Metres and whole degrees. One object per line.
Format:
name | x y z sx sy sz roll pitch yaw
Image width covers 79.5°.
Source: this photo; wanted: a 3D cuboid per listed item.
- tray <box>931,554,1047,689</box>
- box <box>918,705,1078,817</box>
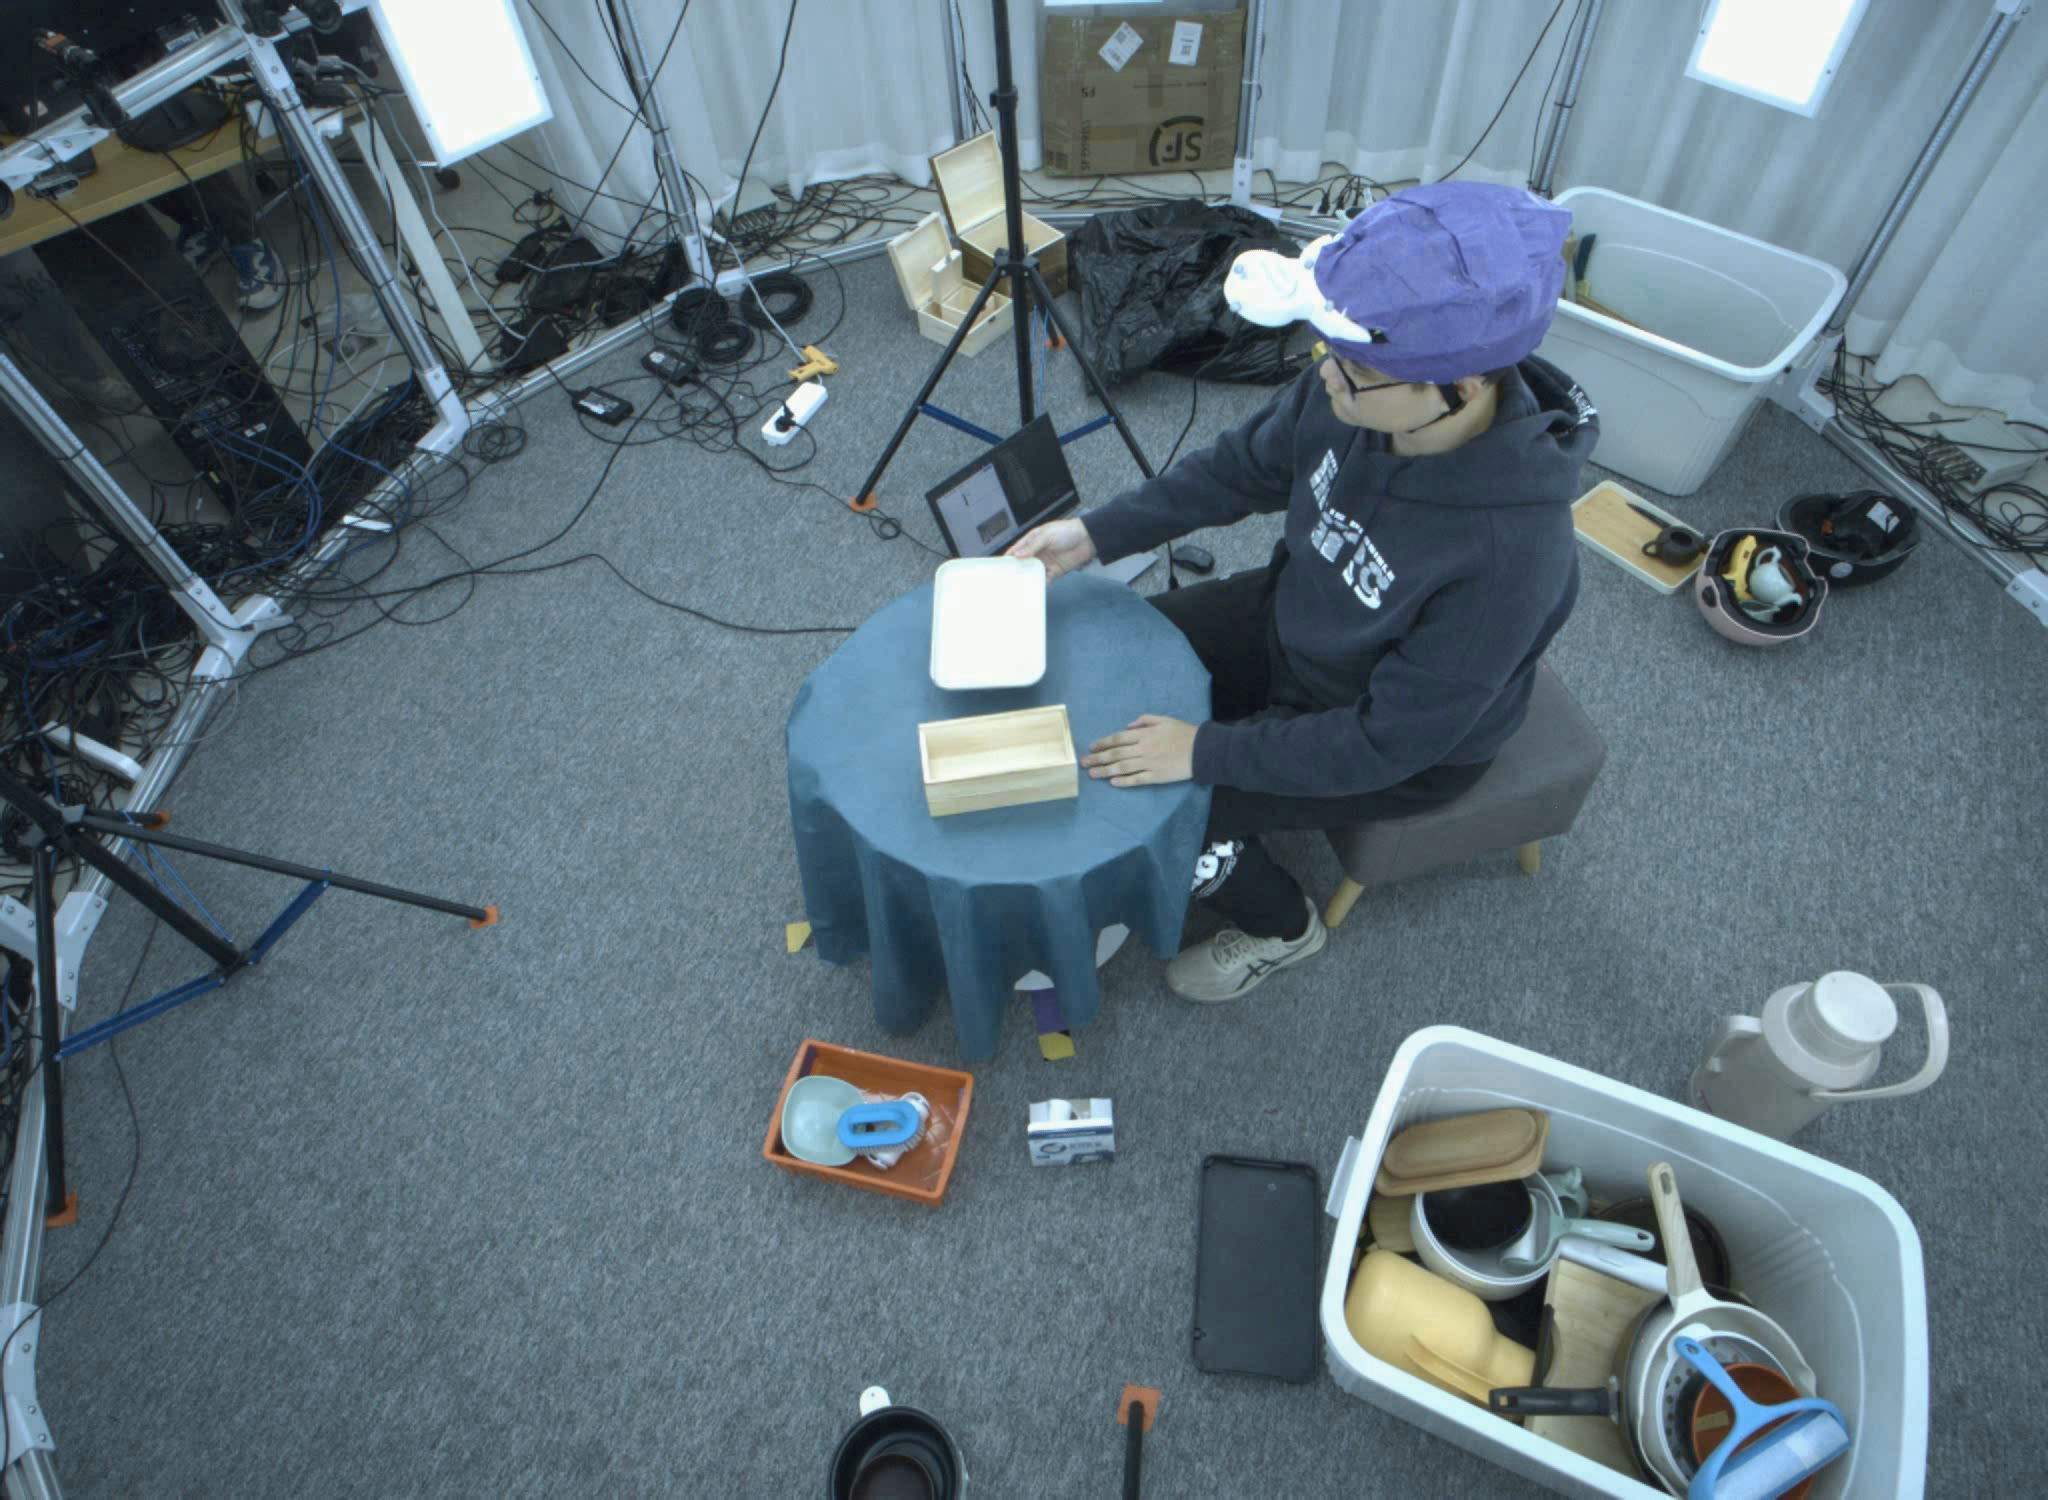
tray | -0.052 -0.192 1.835 0.171 0.017 0.237 -2 61 2
box | -0.036 0.015 1.729 0.212 0.081 0.106 -8 55 -4
